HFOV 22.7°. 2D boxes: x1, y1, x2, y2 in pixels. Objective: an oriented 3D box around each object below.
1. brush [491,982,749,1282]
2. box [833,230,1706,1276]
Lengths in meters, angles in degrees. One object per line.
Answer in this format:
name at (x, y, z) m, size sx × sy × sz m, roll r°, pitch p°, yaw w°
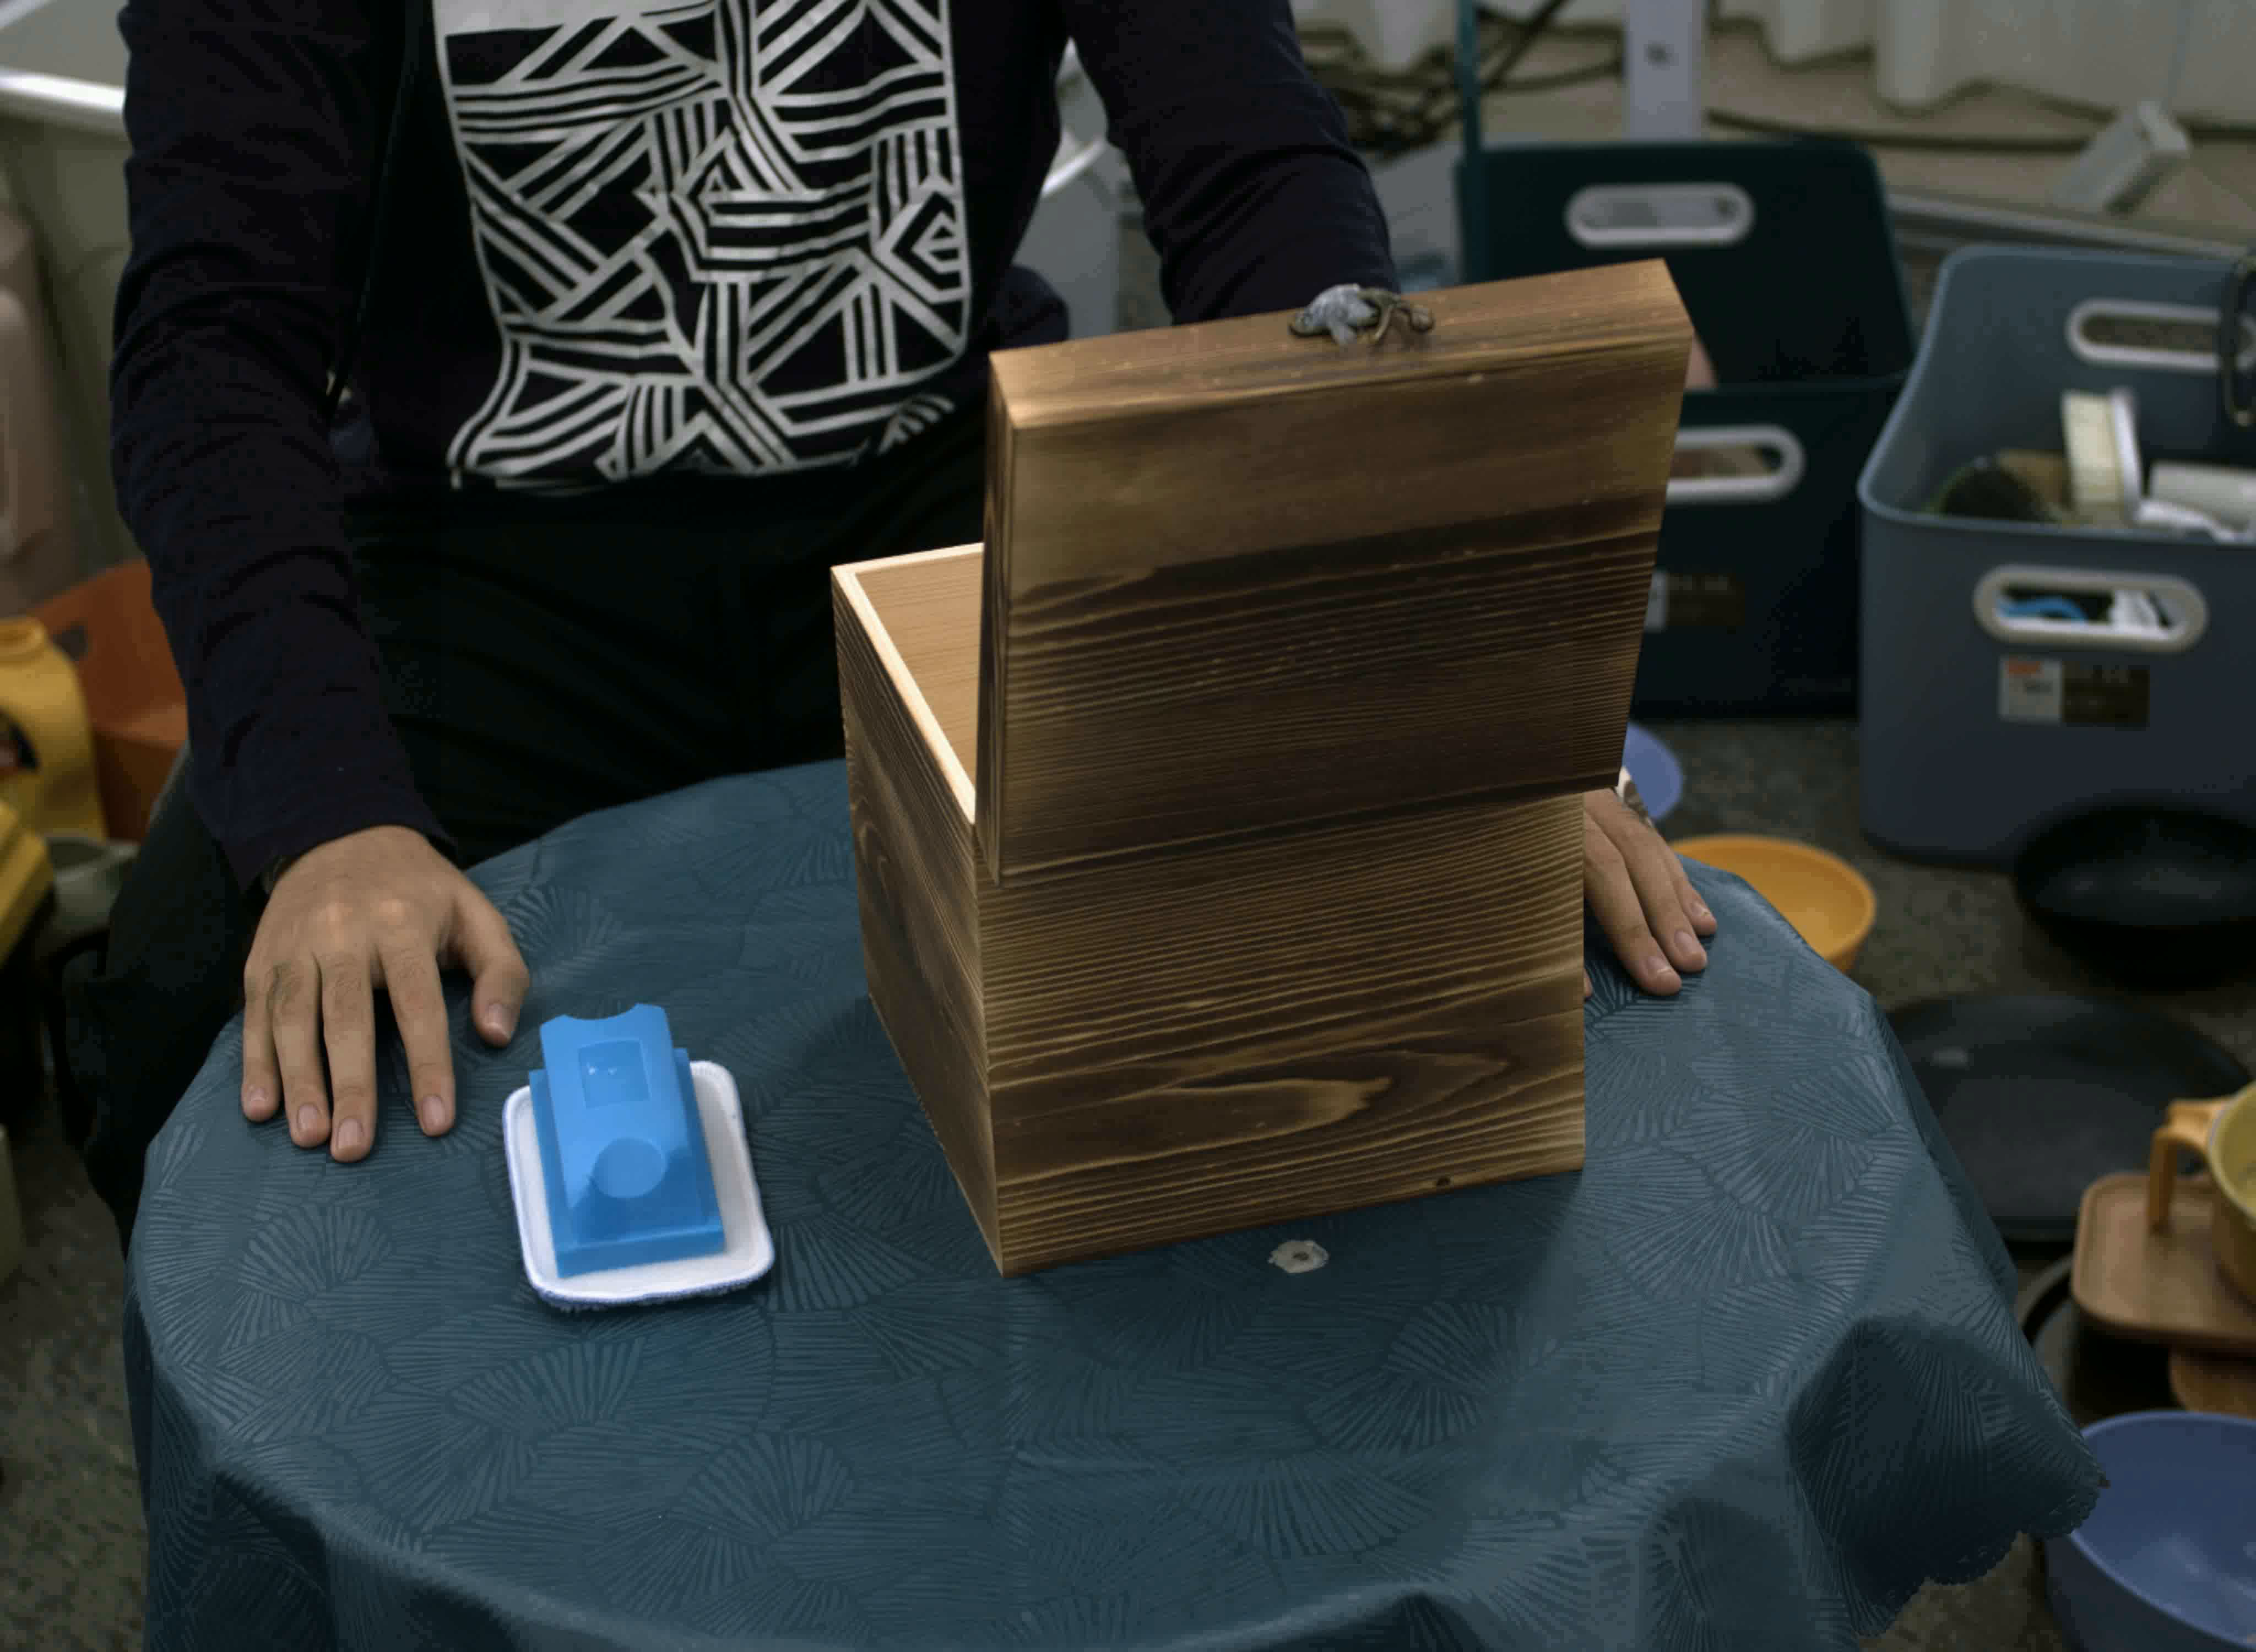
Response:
brush at (-0.168, 0.097, 1.858) m, size 0.083 × 0.055 × 0.146 m, roll -3°, pitch 29°, yaw -7°
box at (0.036, -0.051, 1.802) m, size 0.209 × 0.371 × 0.325 m, roll -9°, pitch 27°, yaw -13°
